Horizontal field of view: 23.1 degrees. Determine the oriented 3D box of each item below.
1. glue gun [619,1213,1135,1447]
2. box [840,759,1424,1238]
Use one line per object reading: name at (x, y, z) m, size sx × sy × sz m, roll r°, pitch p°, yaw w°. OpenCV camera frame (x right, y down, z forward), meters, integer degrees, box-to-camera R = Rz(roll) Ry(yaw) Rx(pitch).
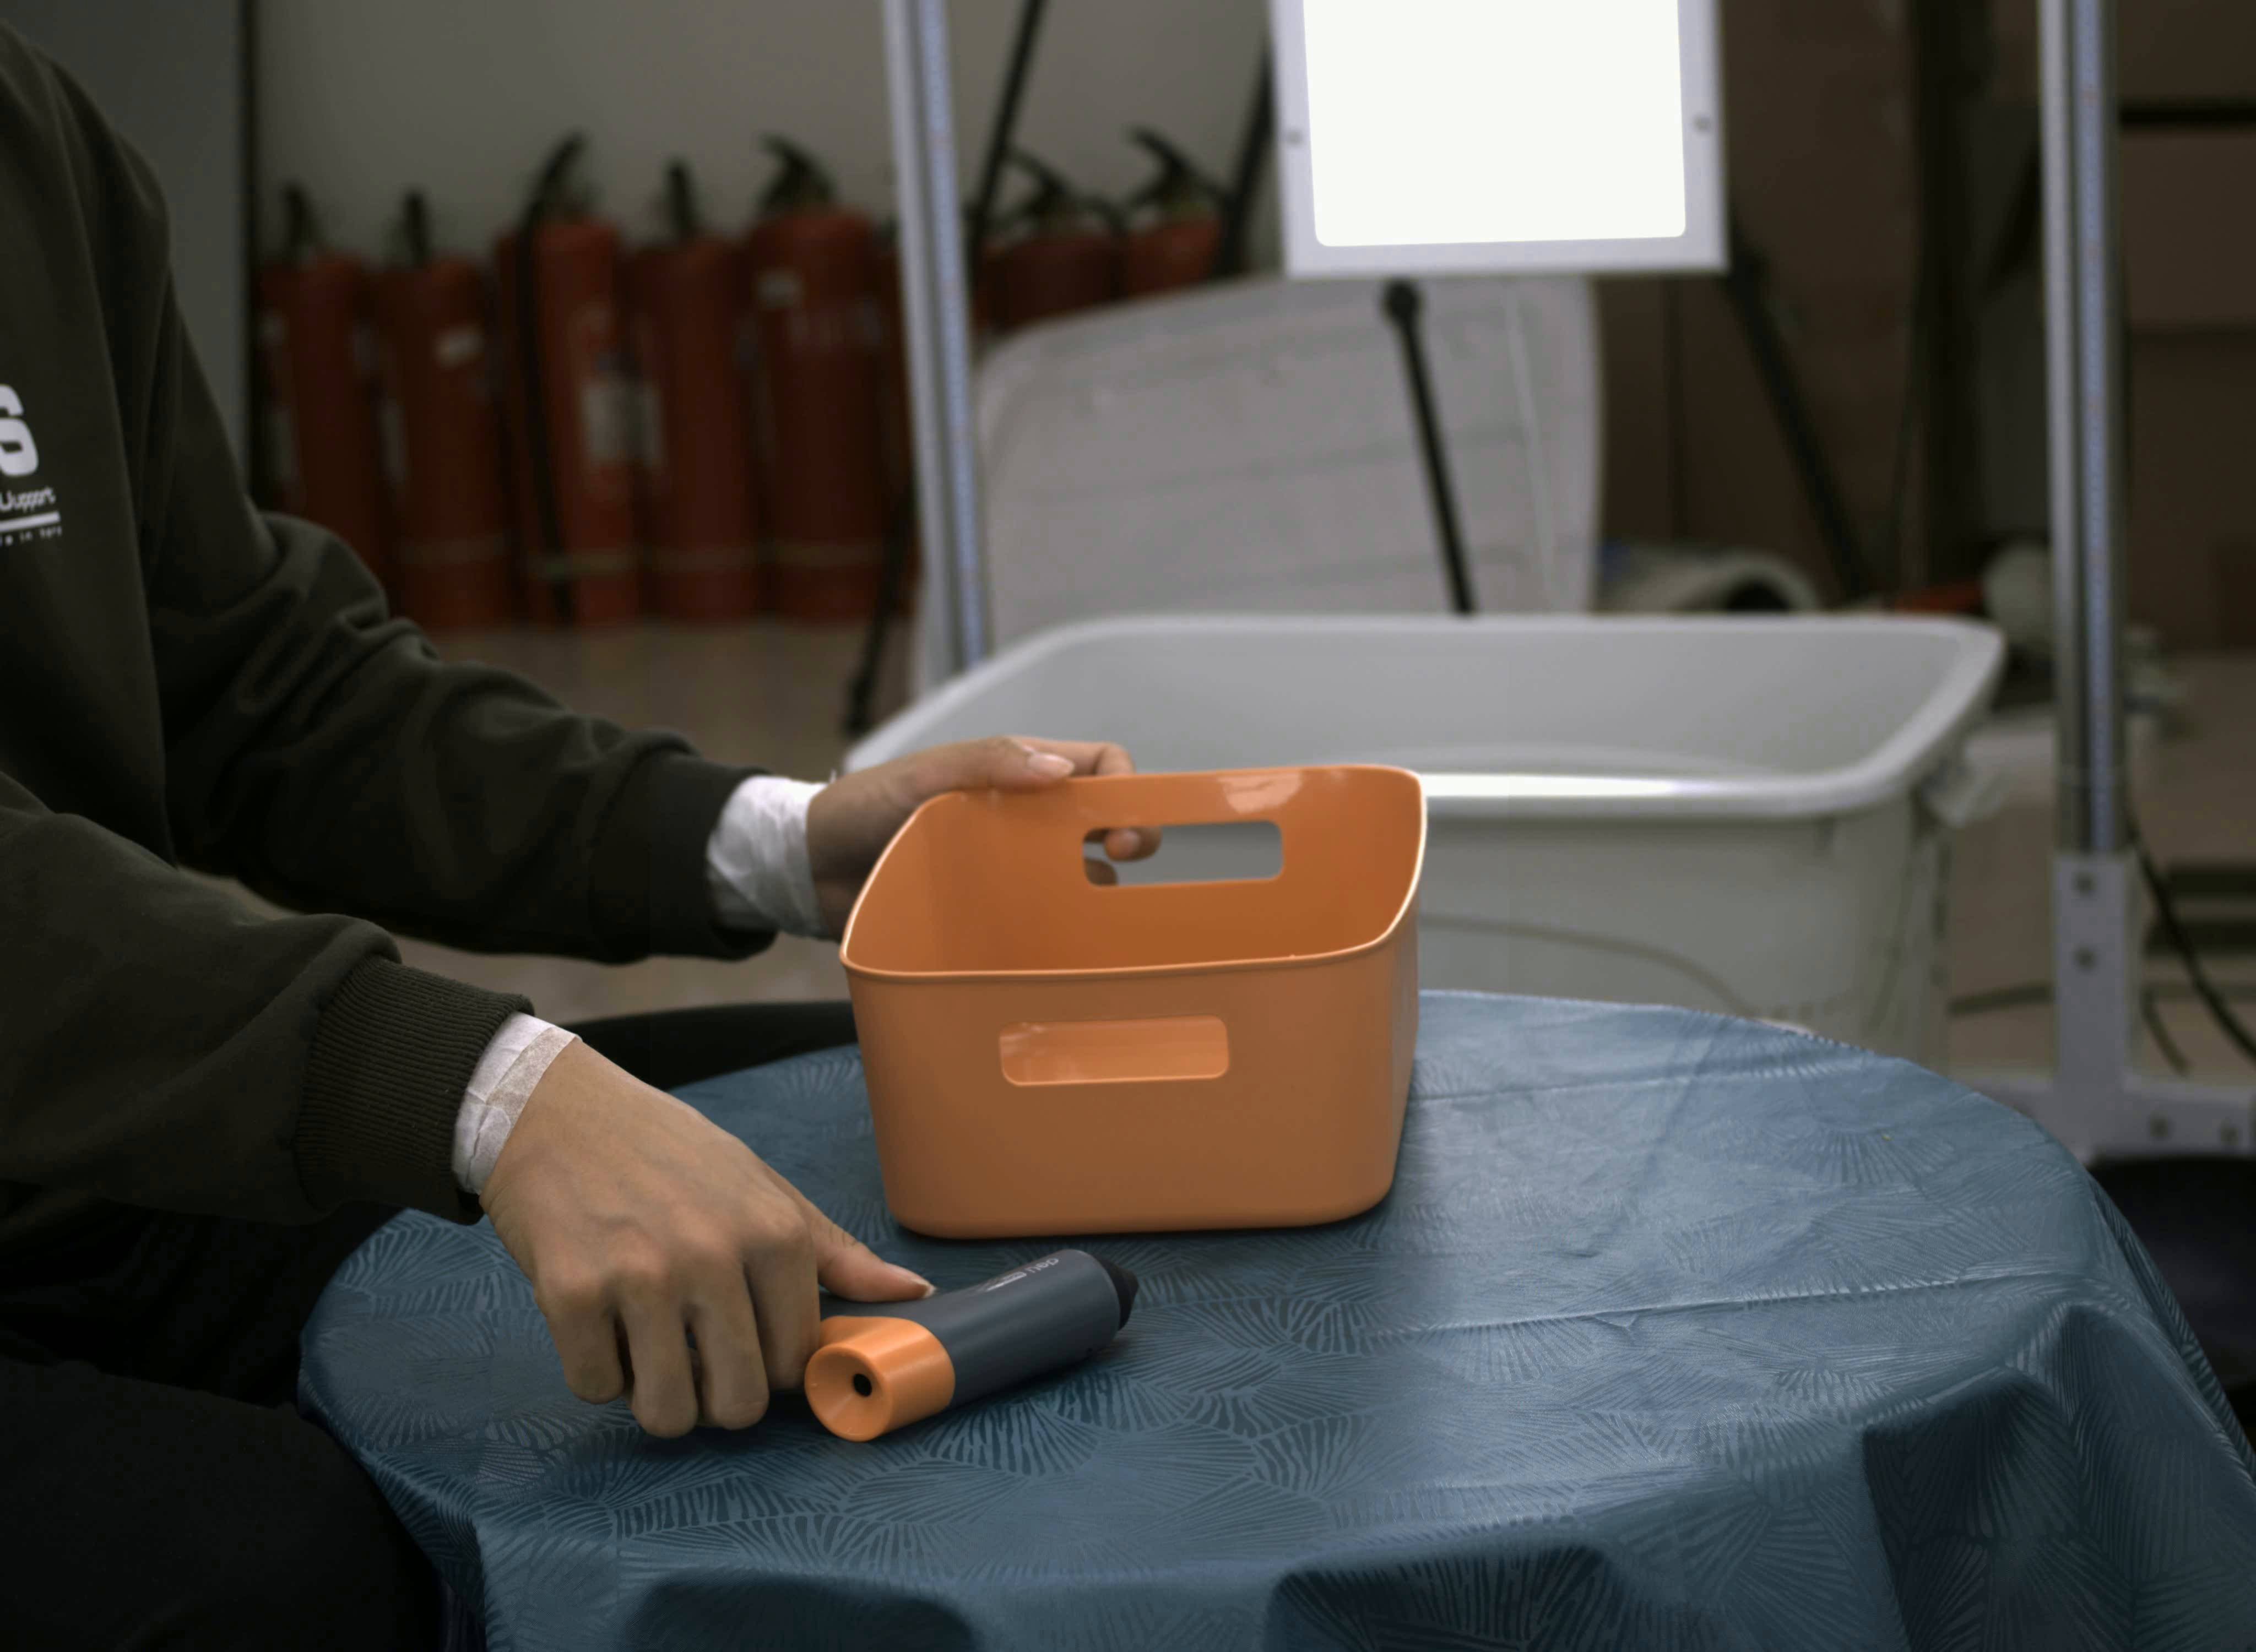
glue gun at (-0.080, 0.156, 1.741) m, size 0.142 × 0.041 × 0.115 m, roll 7°, pitch 19°, yaw 32°
box at (0.009, 0.060, 1.950) m, size 0.200 × 0.103 × 0.271 m, roll -3°, pitch 14°, yaw 7°
